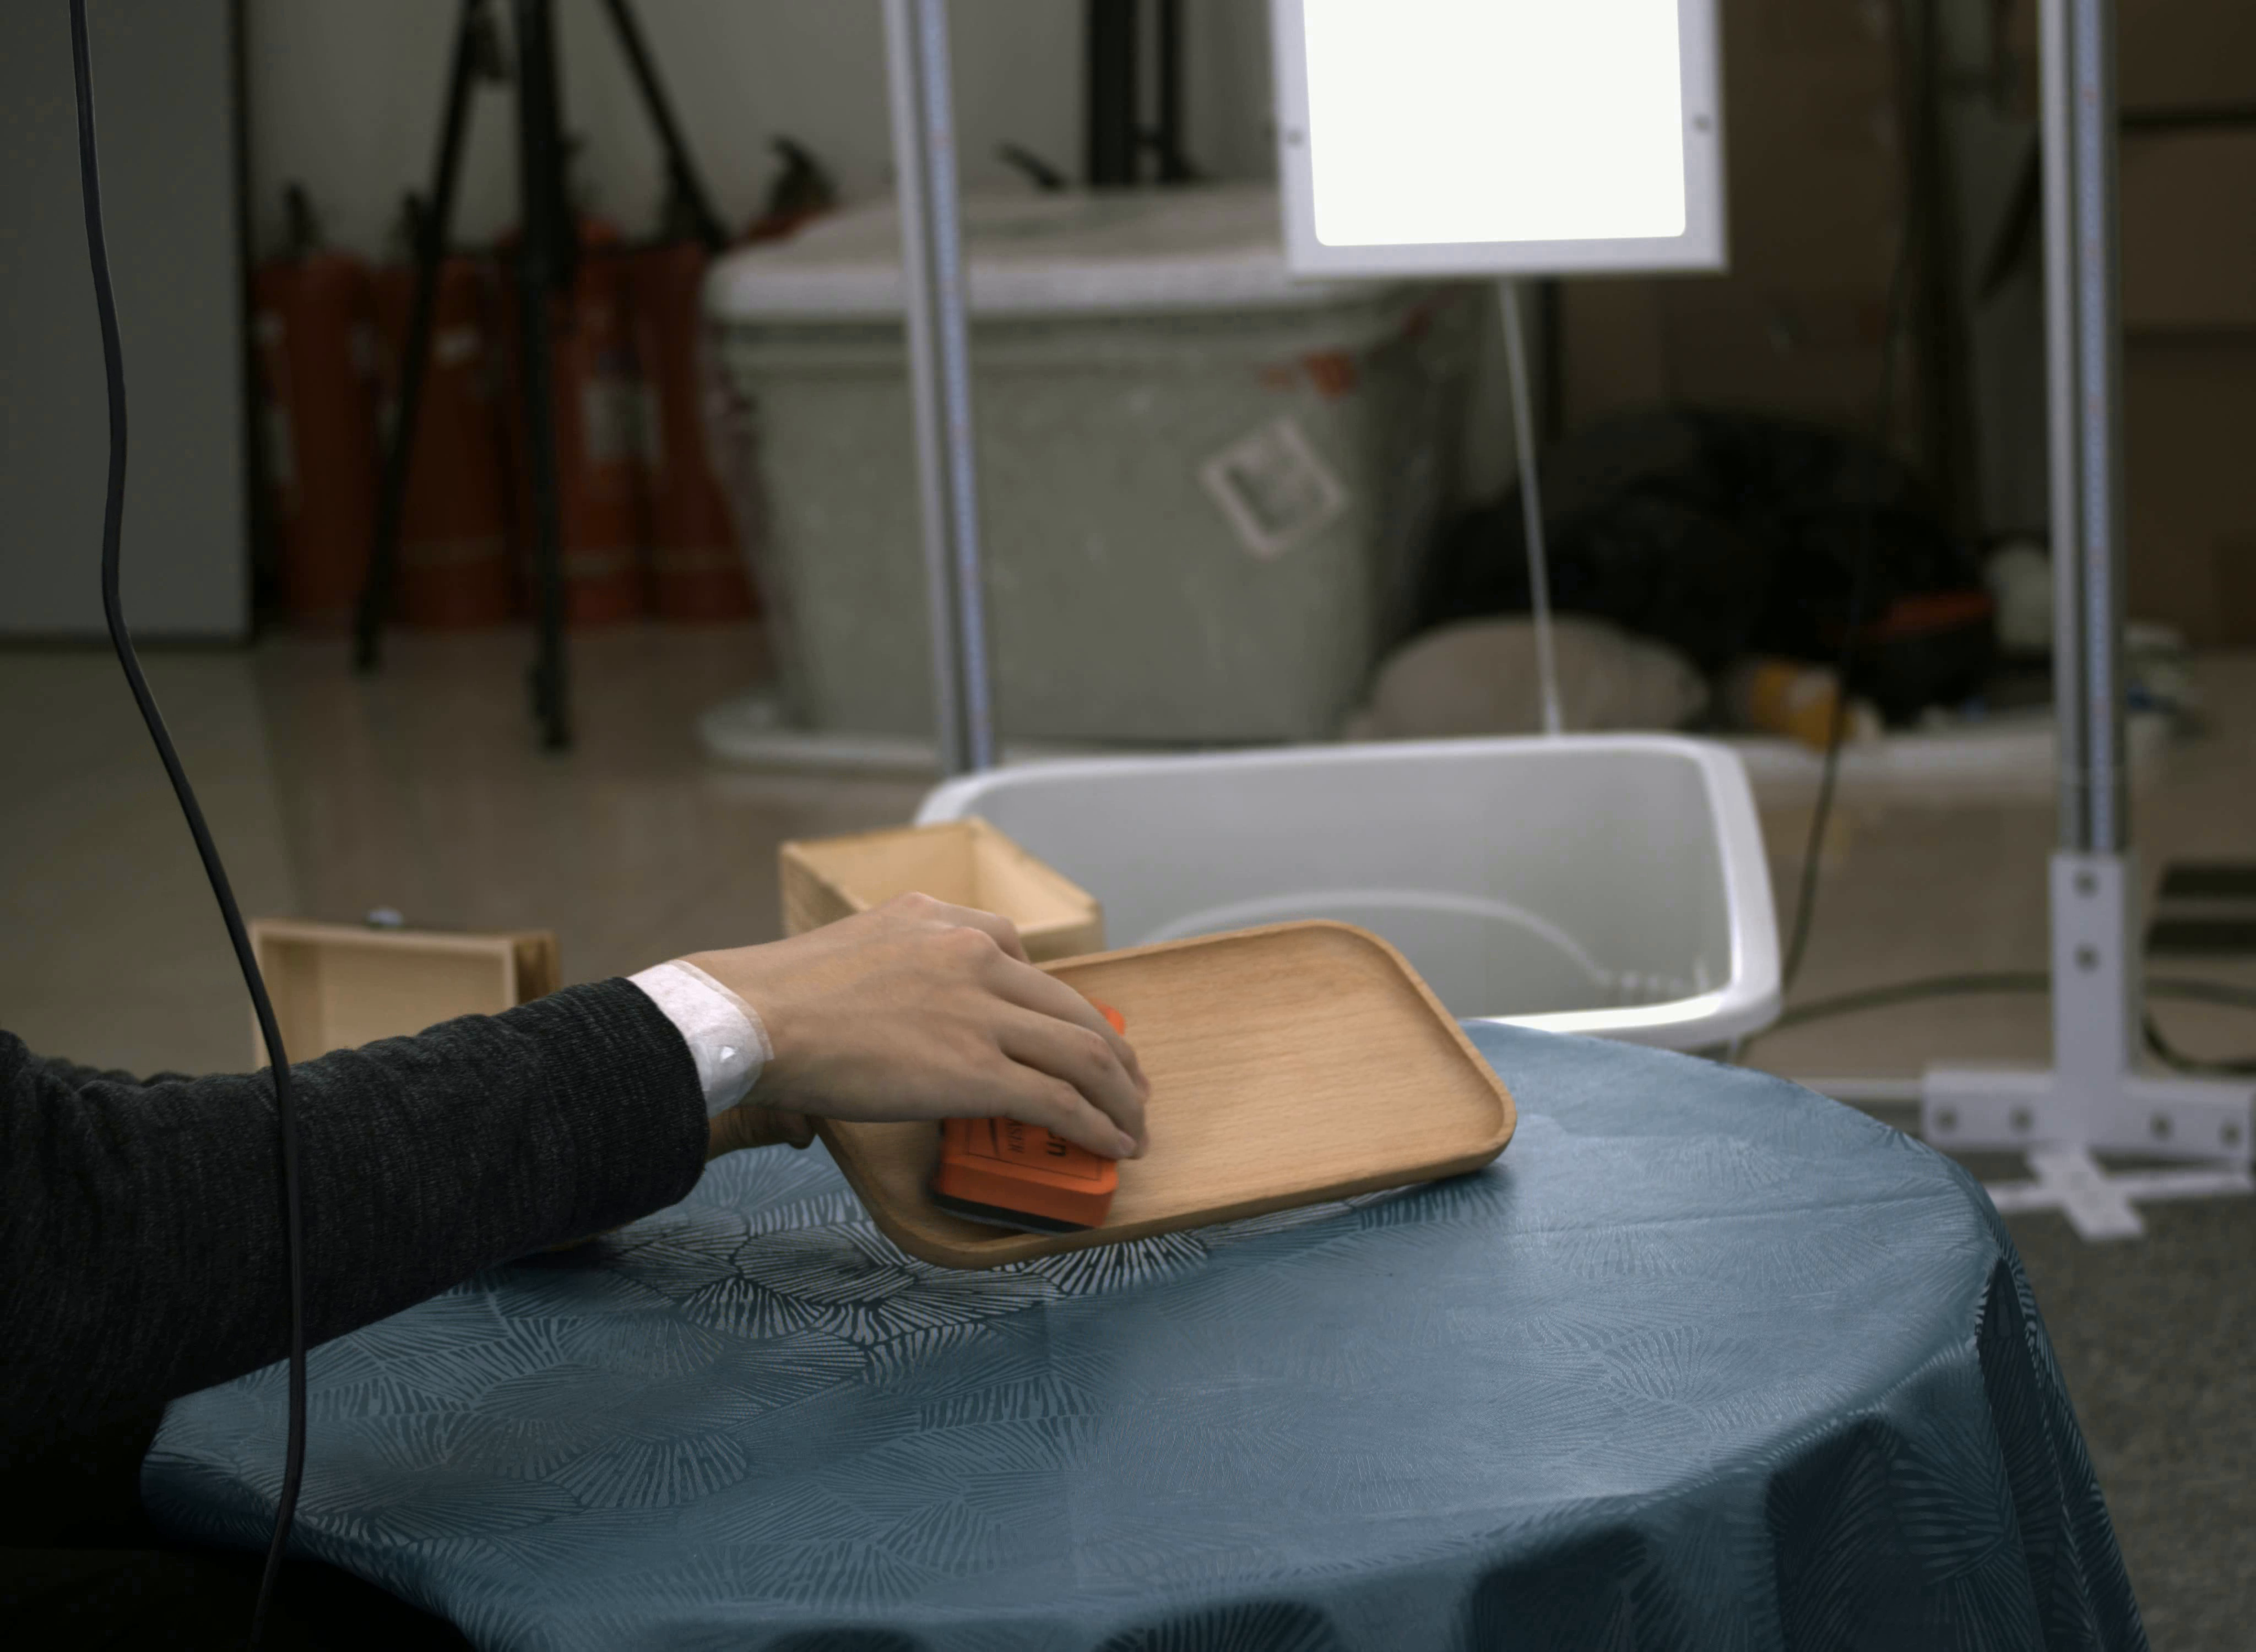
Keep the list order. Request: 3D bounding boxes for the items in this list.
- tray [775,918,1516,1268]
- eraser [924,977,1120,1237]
[{"bbox_3d":[0.007,0.090,1.872,0.245,0.023,0.132,-8,41,-28],"label":"tray"},{"bbox_3d":[-0.034,0.093,1.830,0.059,0.023,0.107,9,33,-2],"label":"eraser"}]
